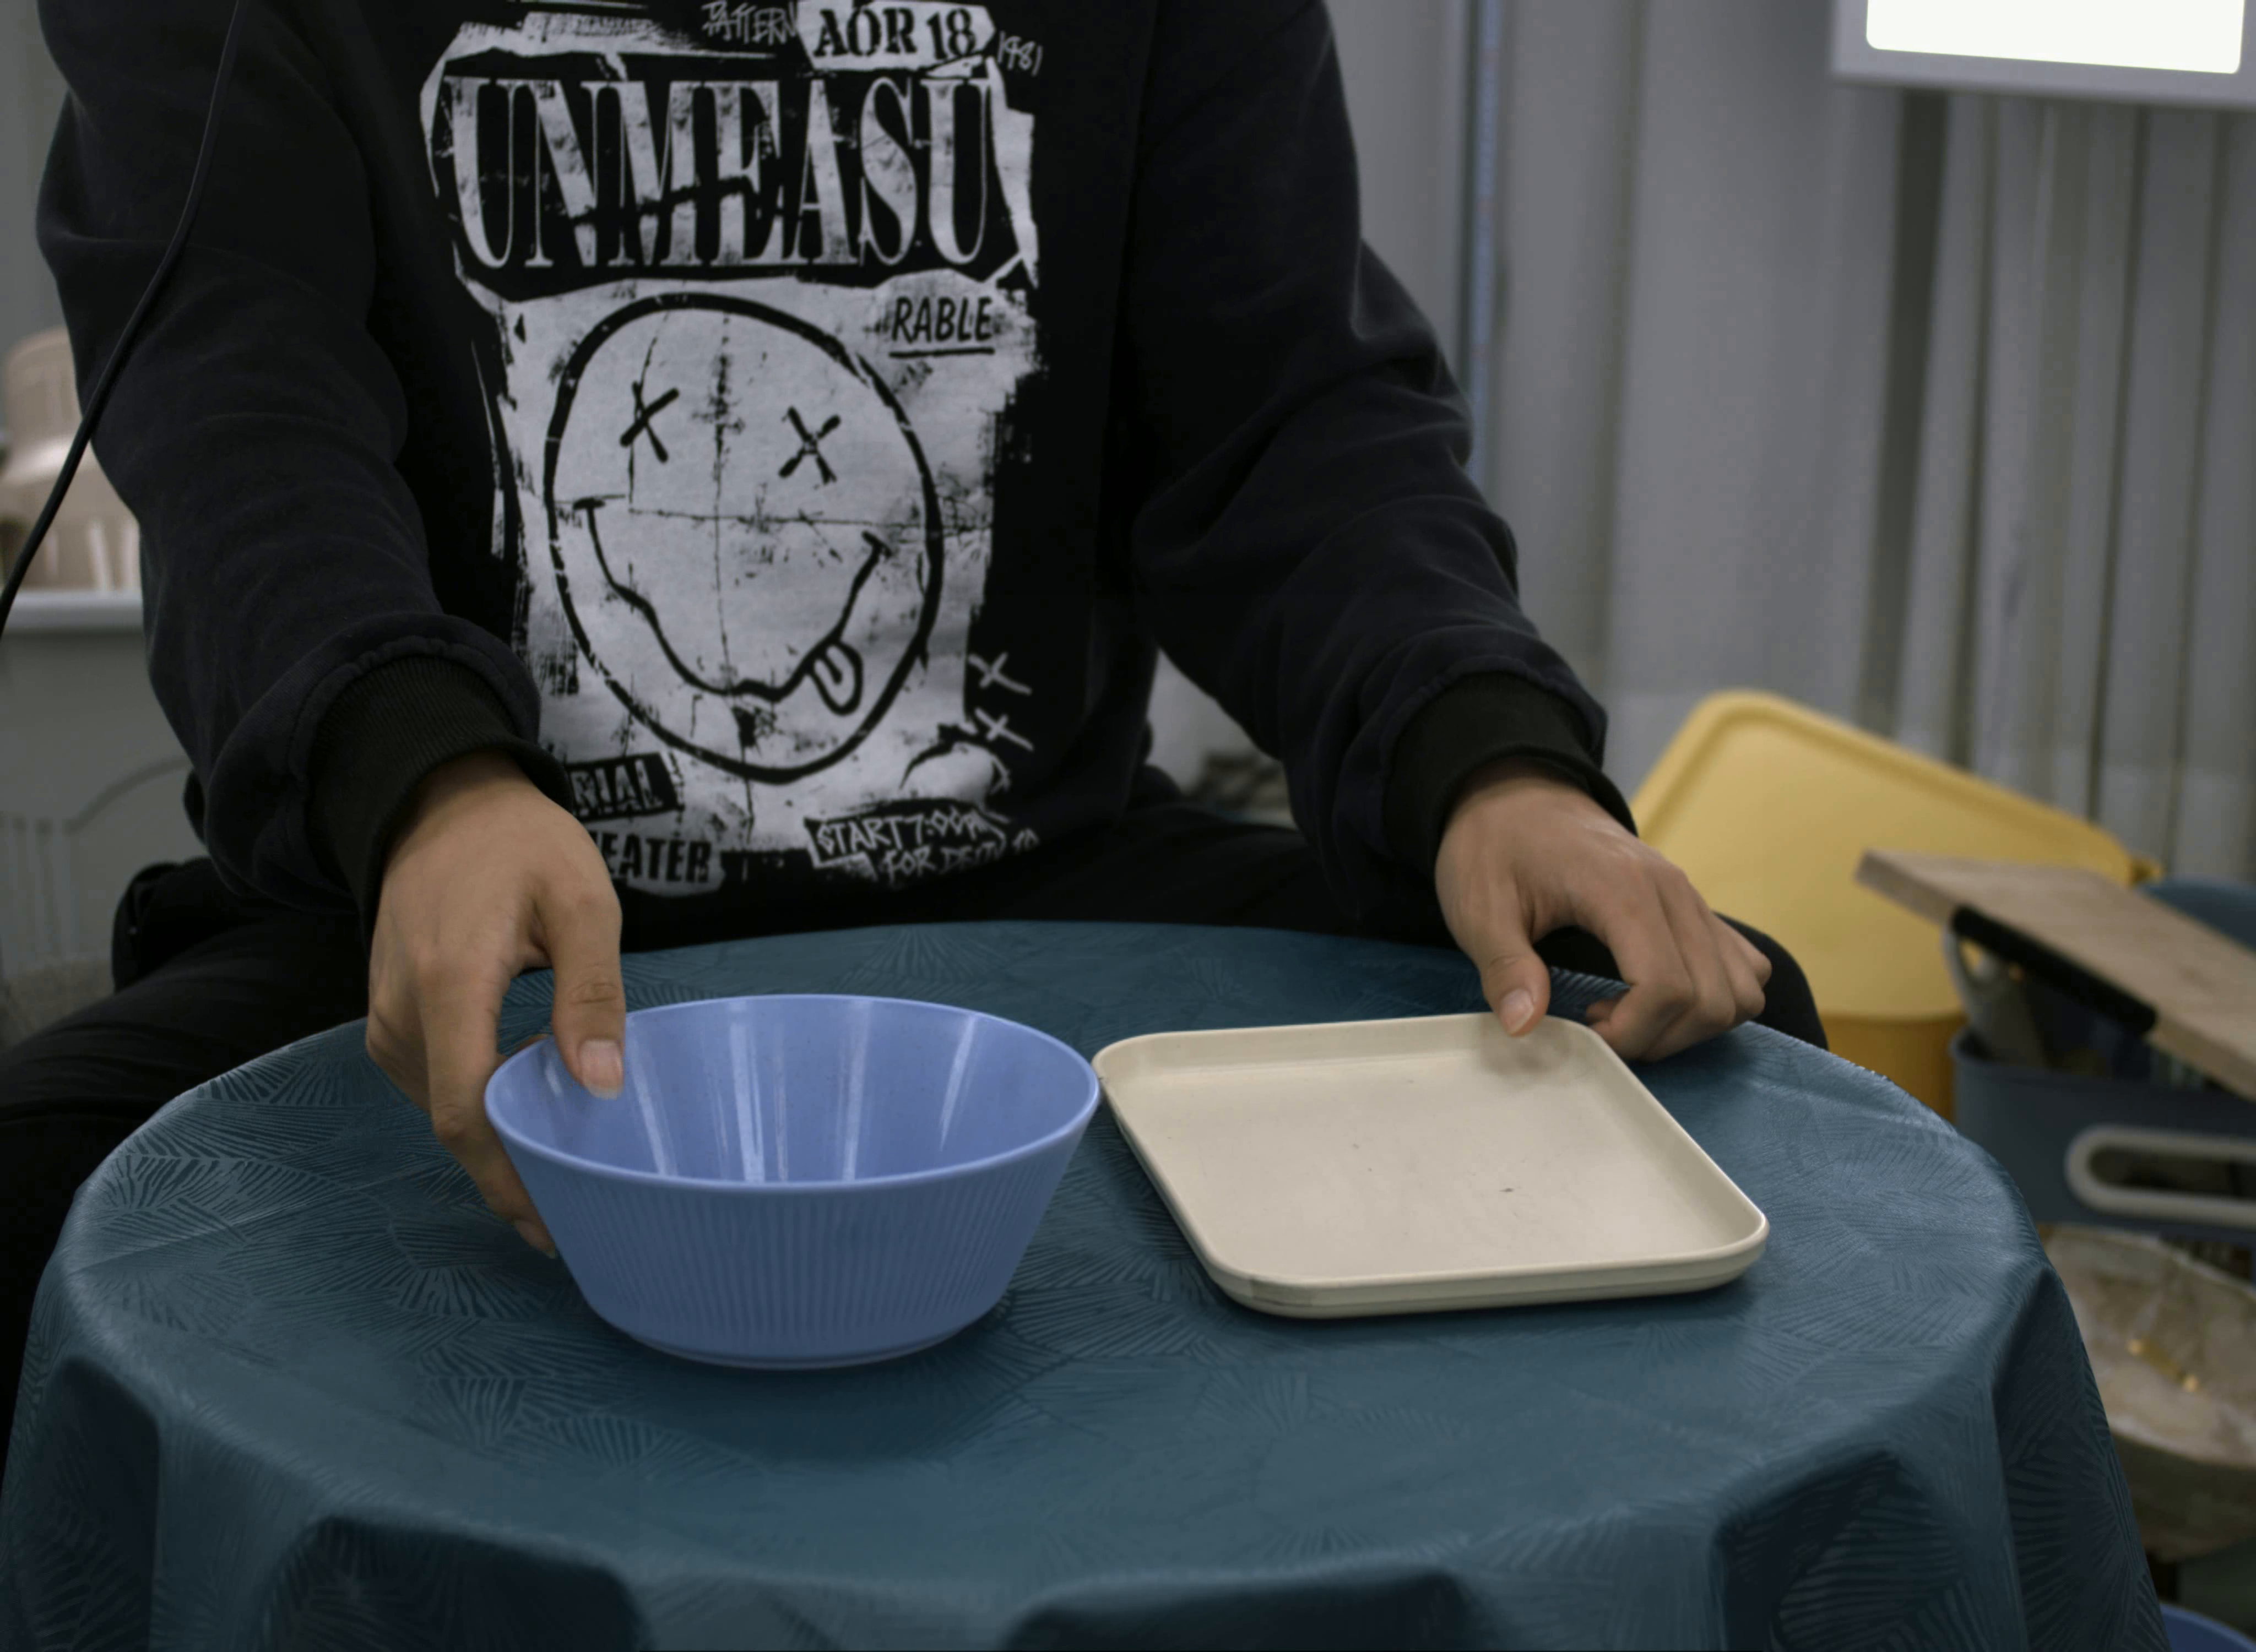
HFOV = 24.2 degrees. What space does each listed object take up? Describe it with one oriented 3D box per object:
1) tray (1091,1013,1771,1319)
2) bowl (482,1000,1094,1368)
[{"bbox_3d":[0.089,0.104,1.629,0.171,0.017,0.237,-2,16,-11],"label":"tray"},{"bbox_3d":[-0.098,0.105,1.517,0.175,0.071,0.175,1,15,0],"label":"bowl"}]
